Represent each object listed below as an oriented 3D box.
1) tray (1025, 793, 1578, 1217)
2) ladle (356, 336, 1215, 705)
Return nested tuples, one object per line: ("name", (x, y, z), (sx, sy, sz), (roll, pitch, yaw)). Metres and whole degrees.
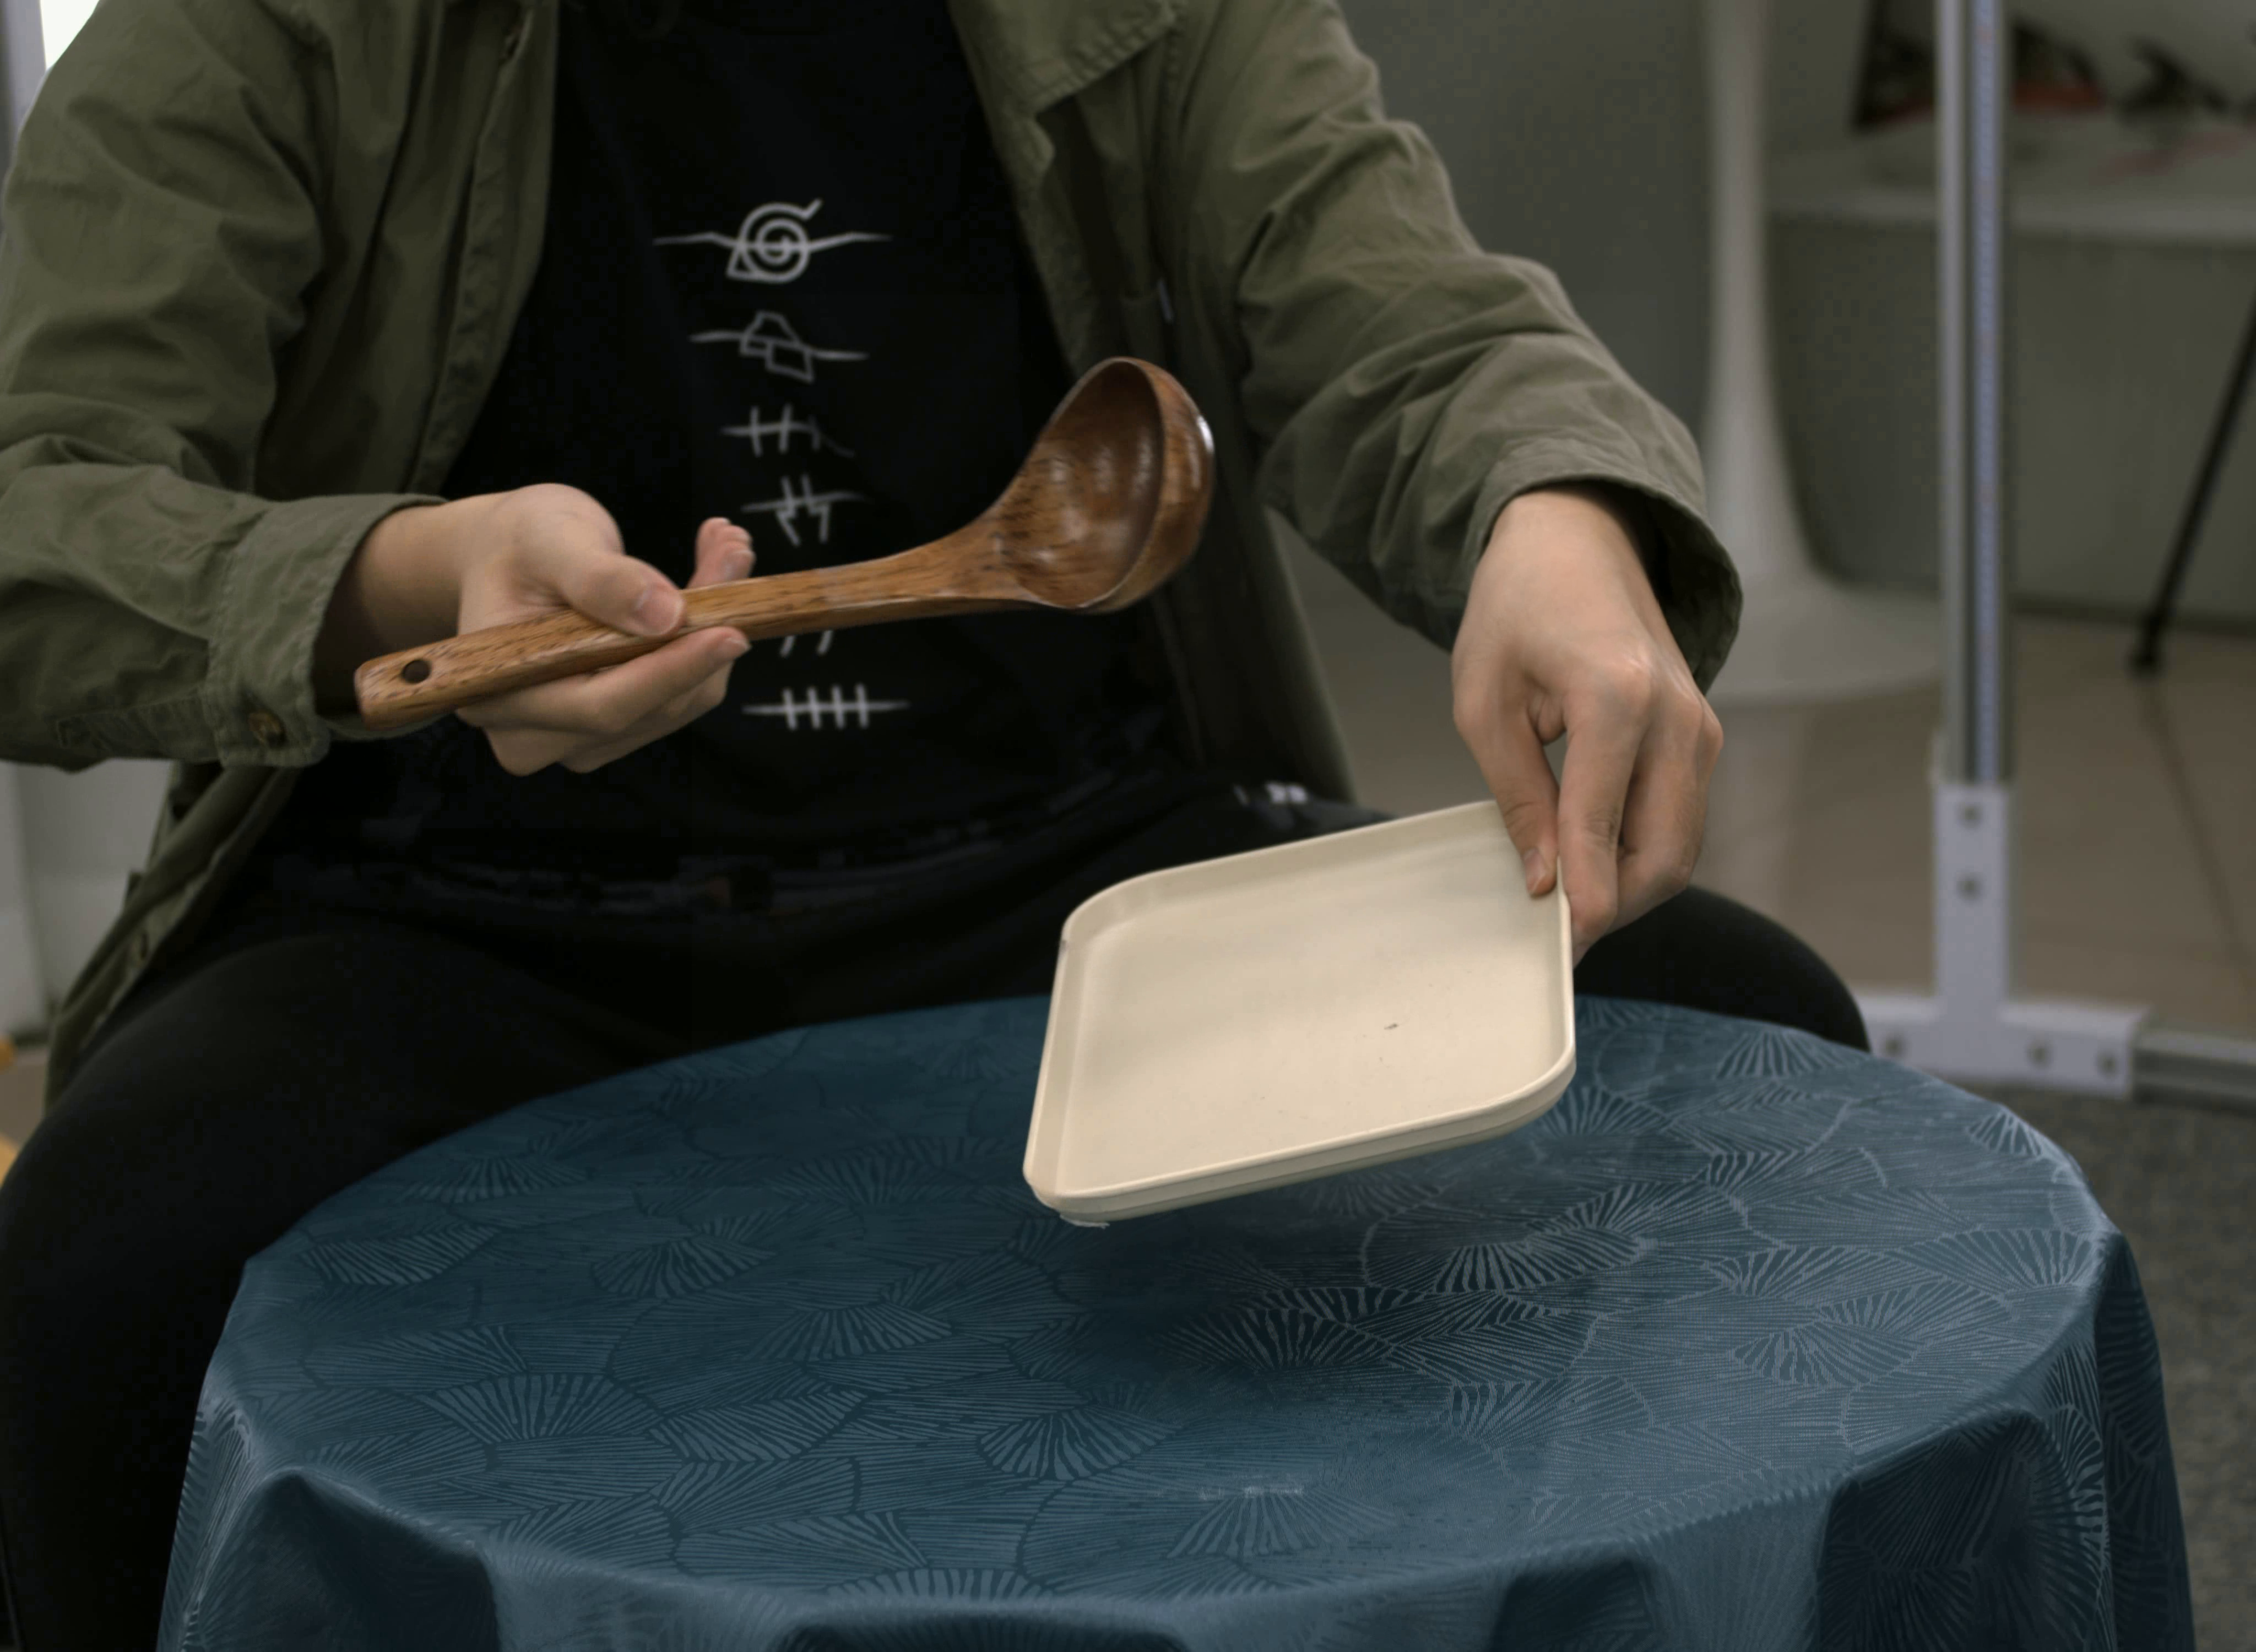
("tray", (0.056, 0.054, 1.665), (0.170, 0.017, 0.240), (-13, 20, 9))
("ladle", (-0.106, -0.088, 1.649), (0.270, 0.077, 0.083), (-10, 48, -1))
